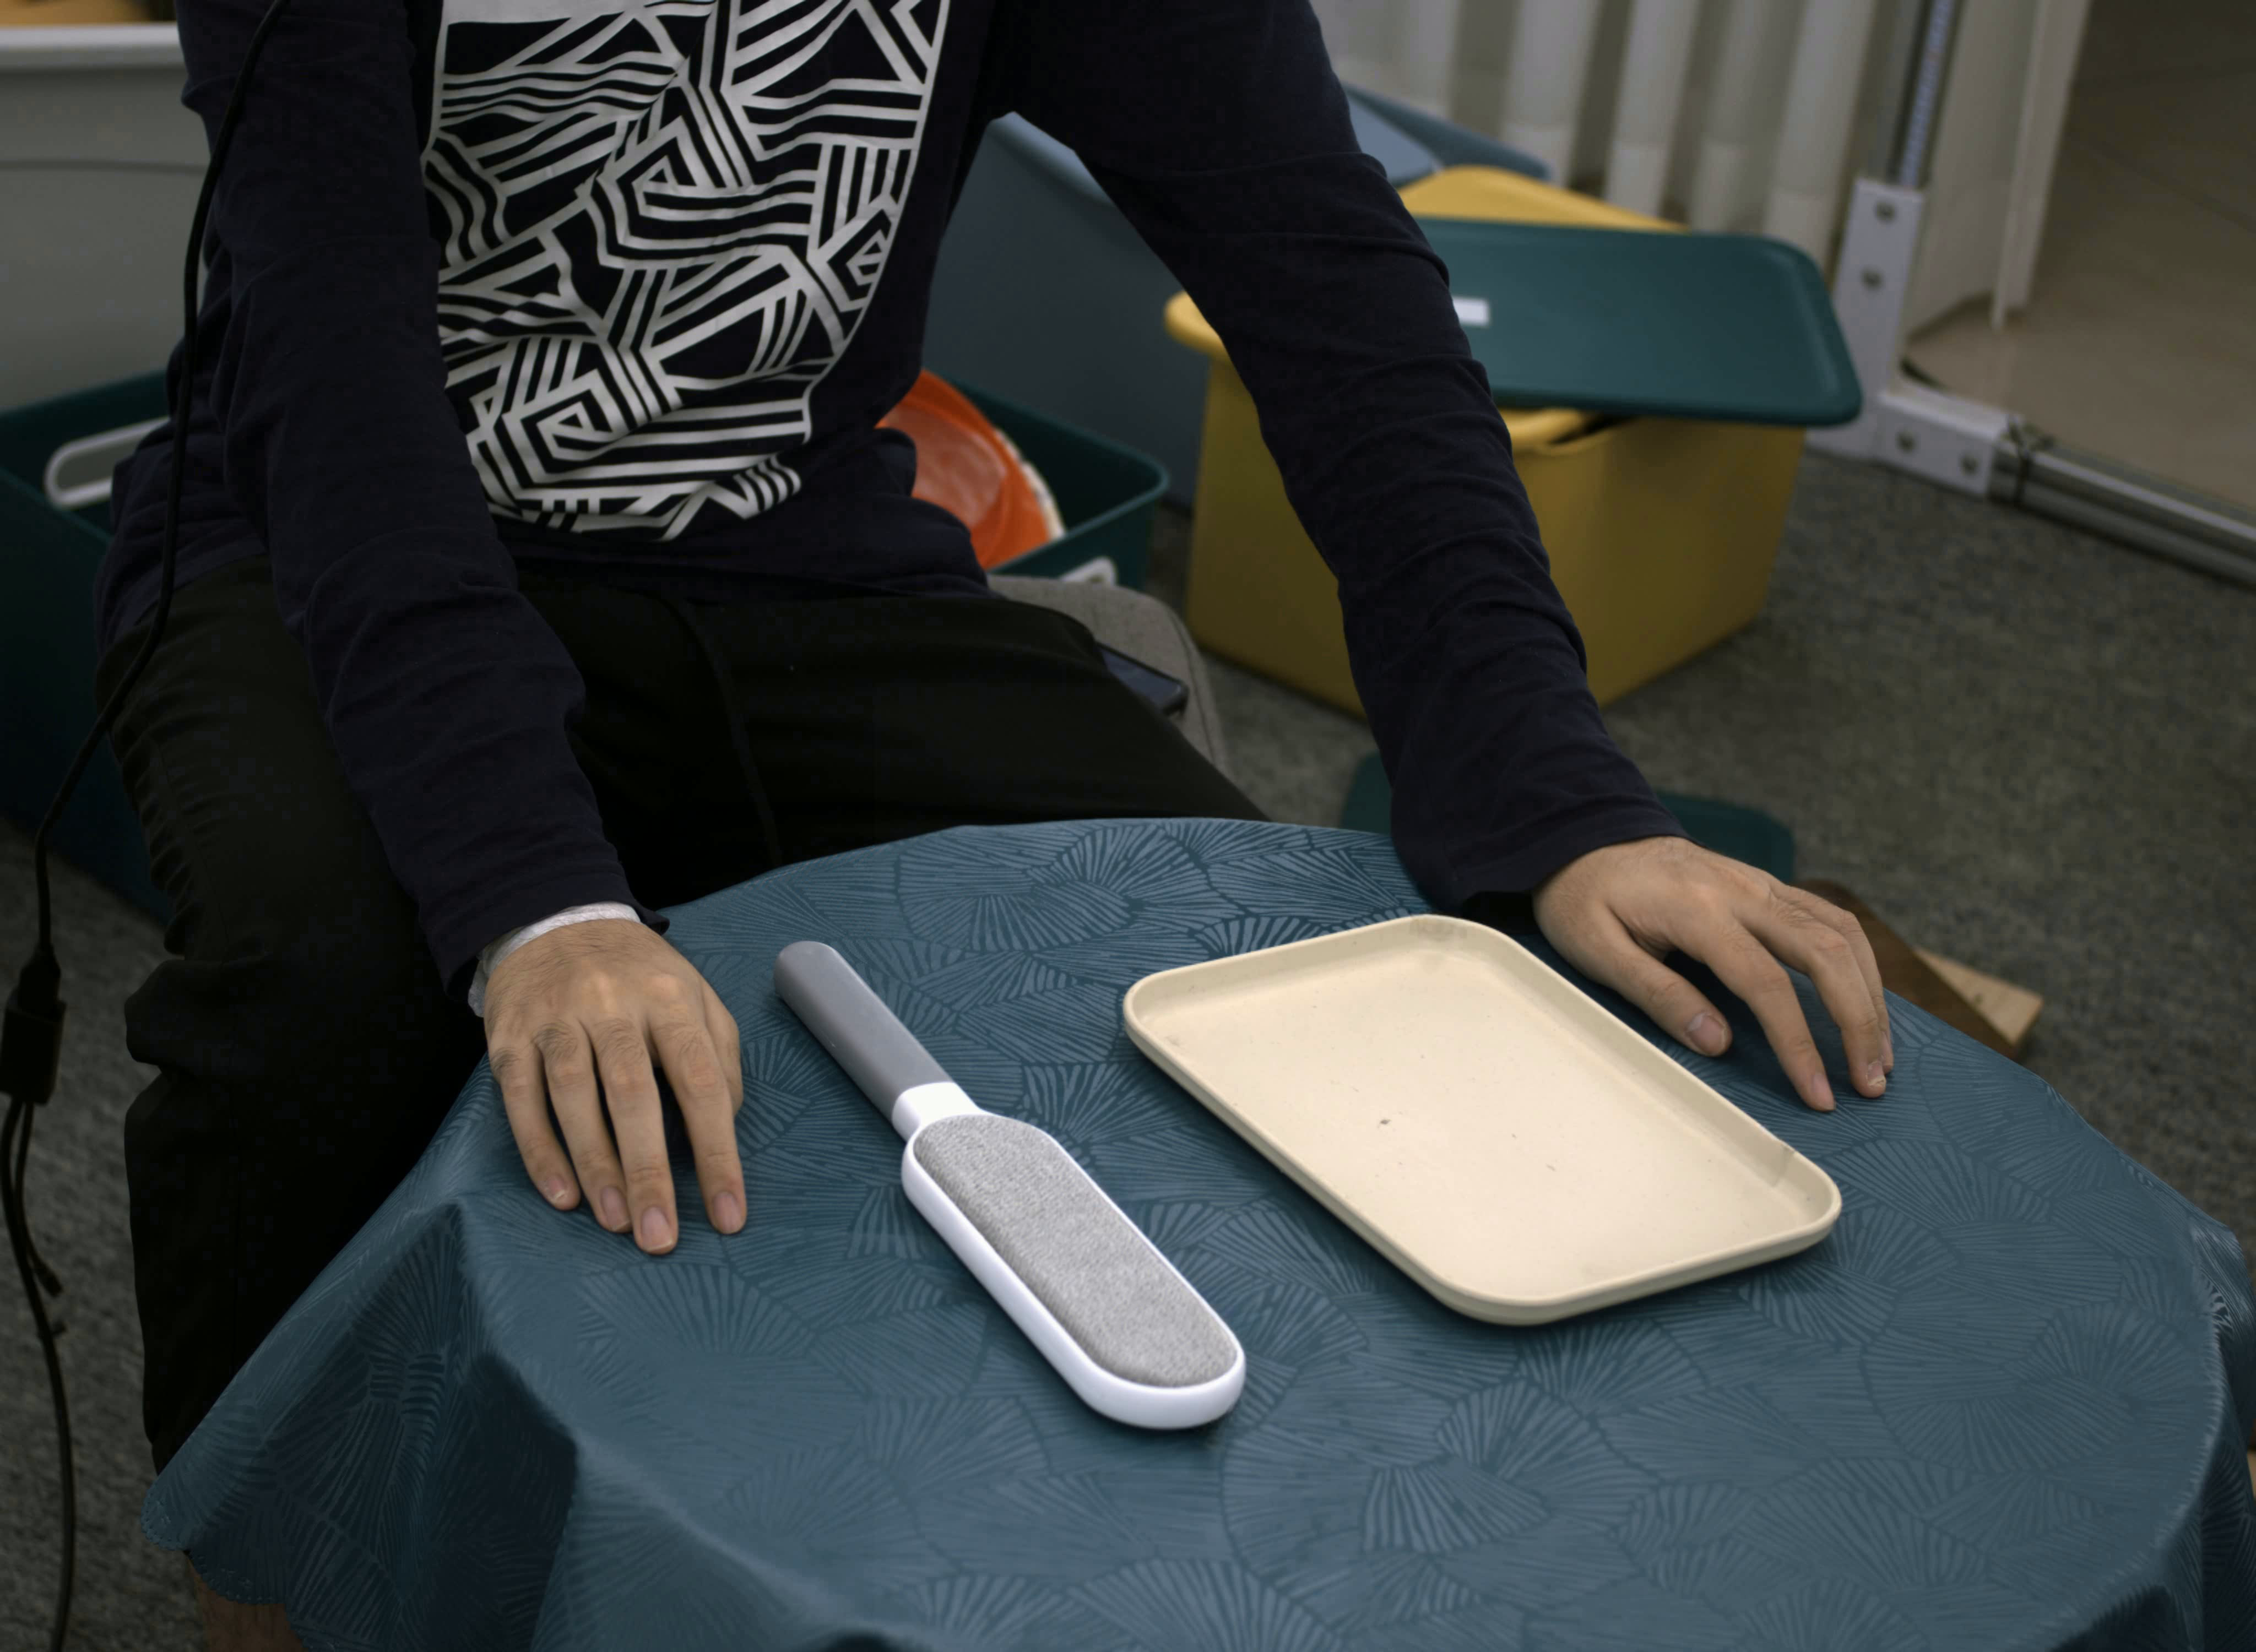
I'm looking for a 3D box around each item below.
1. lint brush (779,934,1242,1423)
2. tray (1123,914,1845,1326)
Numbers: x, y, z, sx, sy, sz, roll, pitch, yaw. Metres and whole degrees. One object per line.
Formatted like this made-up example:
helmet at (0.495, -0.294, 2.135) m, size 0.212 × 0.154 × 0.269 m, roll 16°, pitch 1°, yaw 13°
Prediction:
lint brush at (-0.047, 0.113, 1.787) m, size 0.060 × 0.021 × 0.312 m, roll -13°, pitch 32°, yaw -23°
tray at (0.121, 0.101, 1.859) m, size 0.170 × 0.017 × 0.242 m, roll -12°, pitch 32°, yaw -32°
